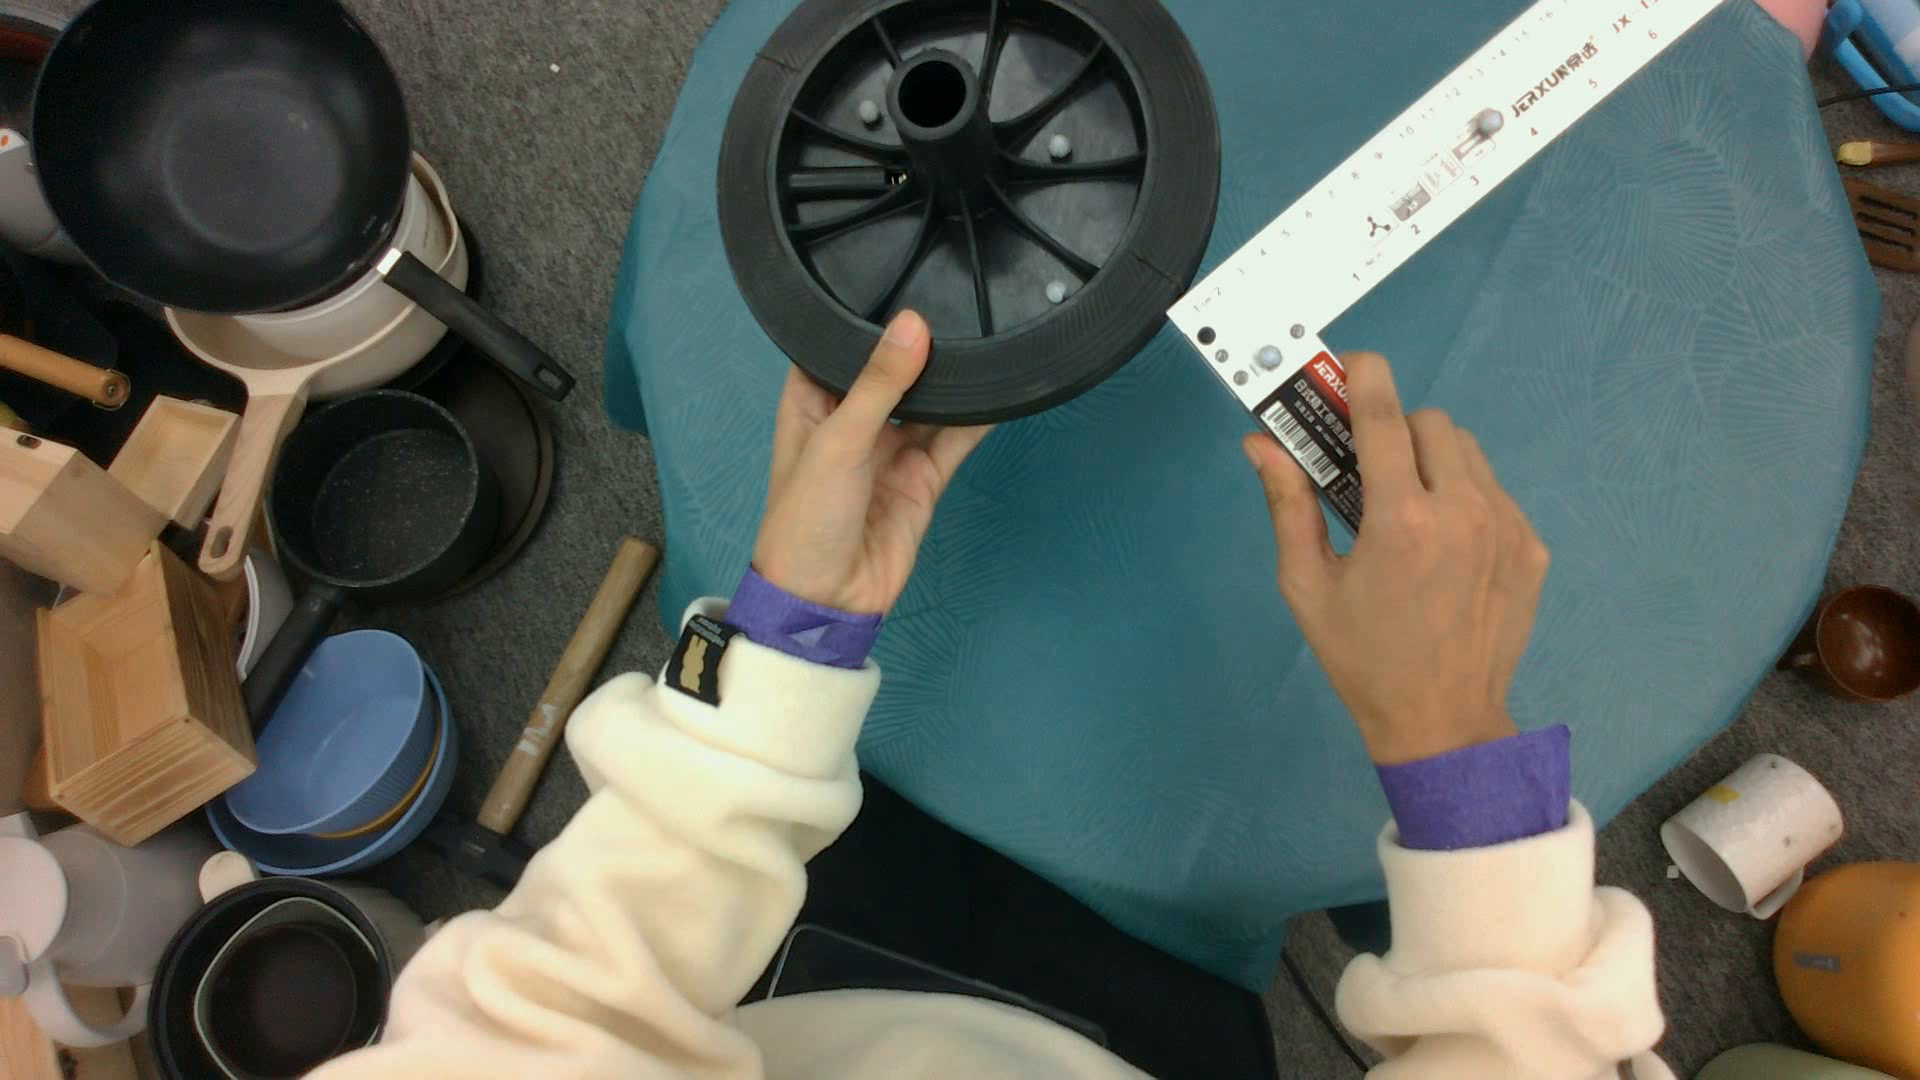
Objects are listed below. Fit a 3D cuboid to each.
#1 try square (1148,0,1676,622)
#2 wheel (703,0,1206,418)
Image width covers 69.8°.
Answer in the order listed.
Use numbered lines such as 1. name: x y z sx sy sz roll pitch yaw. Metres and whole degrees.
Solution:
1. try square: 0.231 -0.127 0.483 0.312 0.016 0.152 -40 94 4
2. wheel: -0.007 -0.142 0.496 0.190 0.079 0.187 -23 77 5
